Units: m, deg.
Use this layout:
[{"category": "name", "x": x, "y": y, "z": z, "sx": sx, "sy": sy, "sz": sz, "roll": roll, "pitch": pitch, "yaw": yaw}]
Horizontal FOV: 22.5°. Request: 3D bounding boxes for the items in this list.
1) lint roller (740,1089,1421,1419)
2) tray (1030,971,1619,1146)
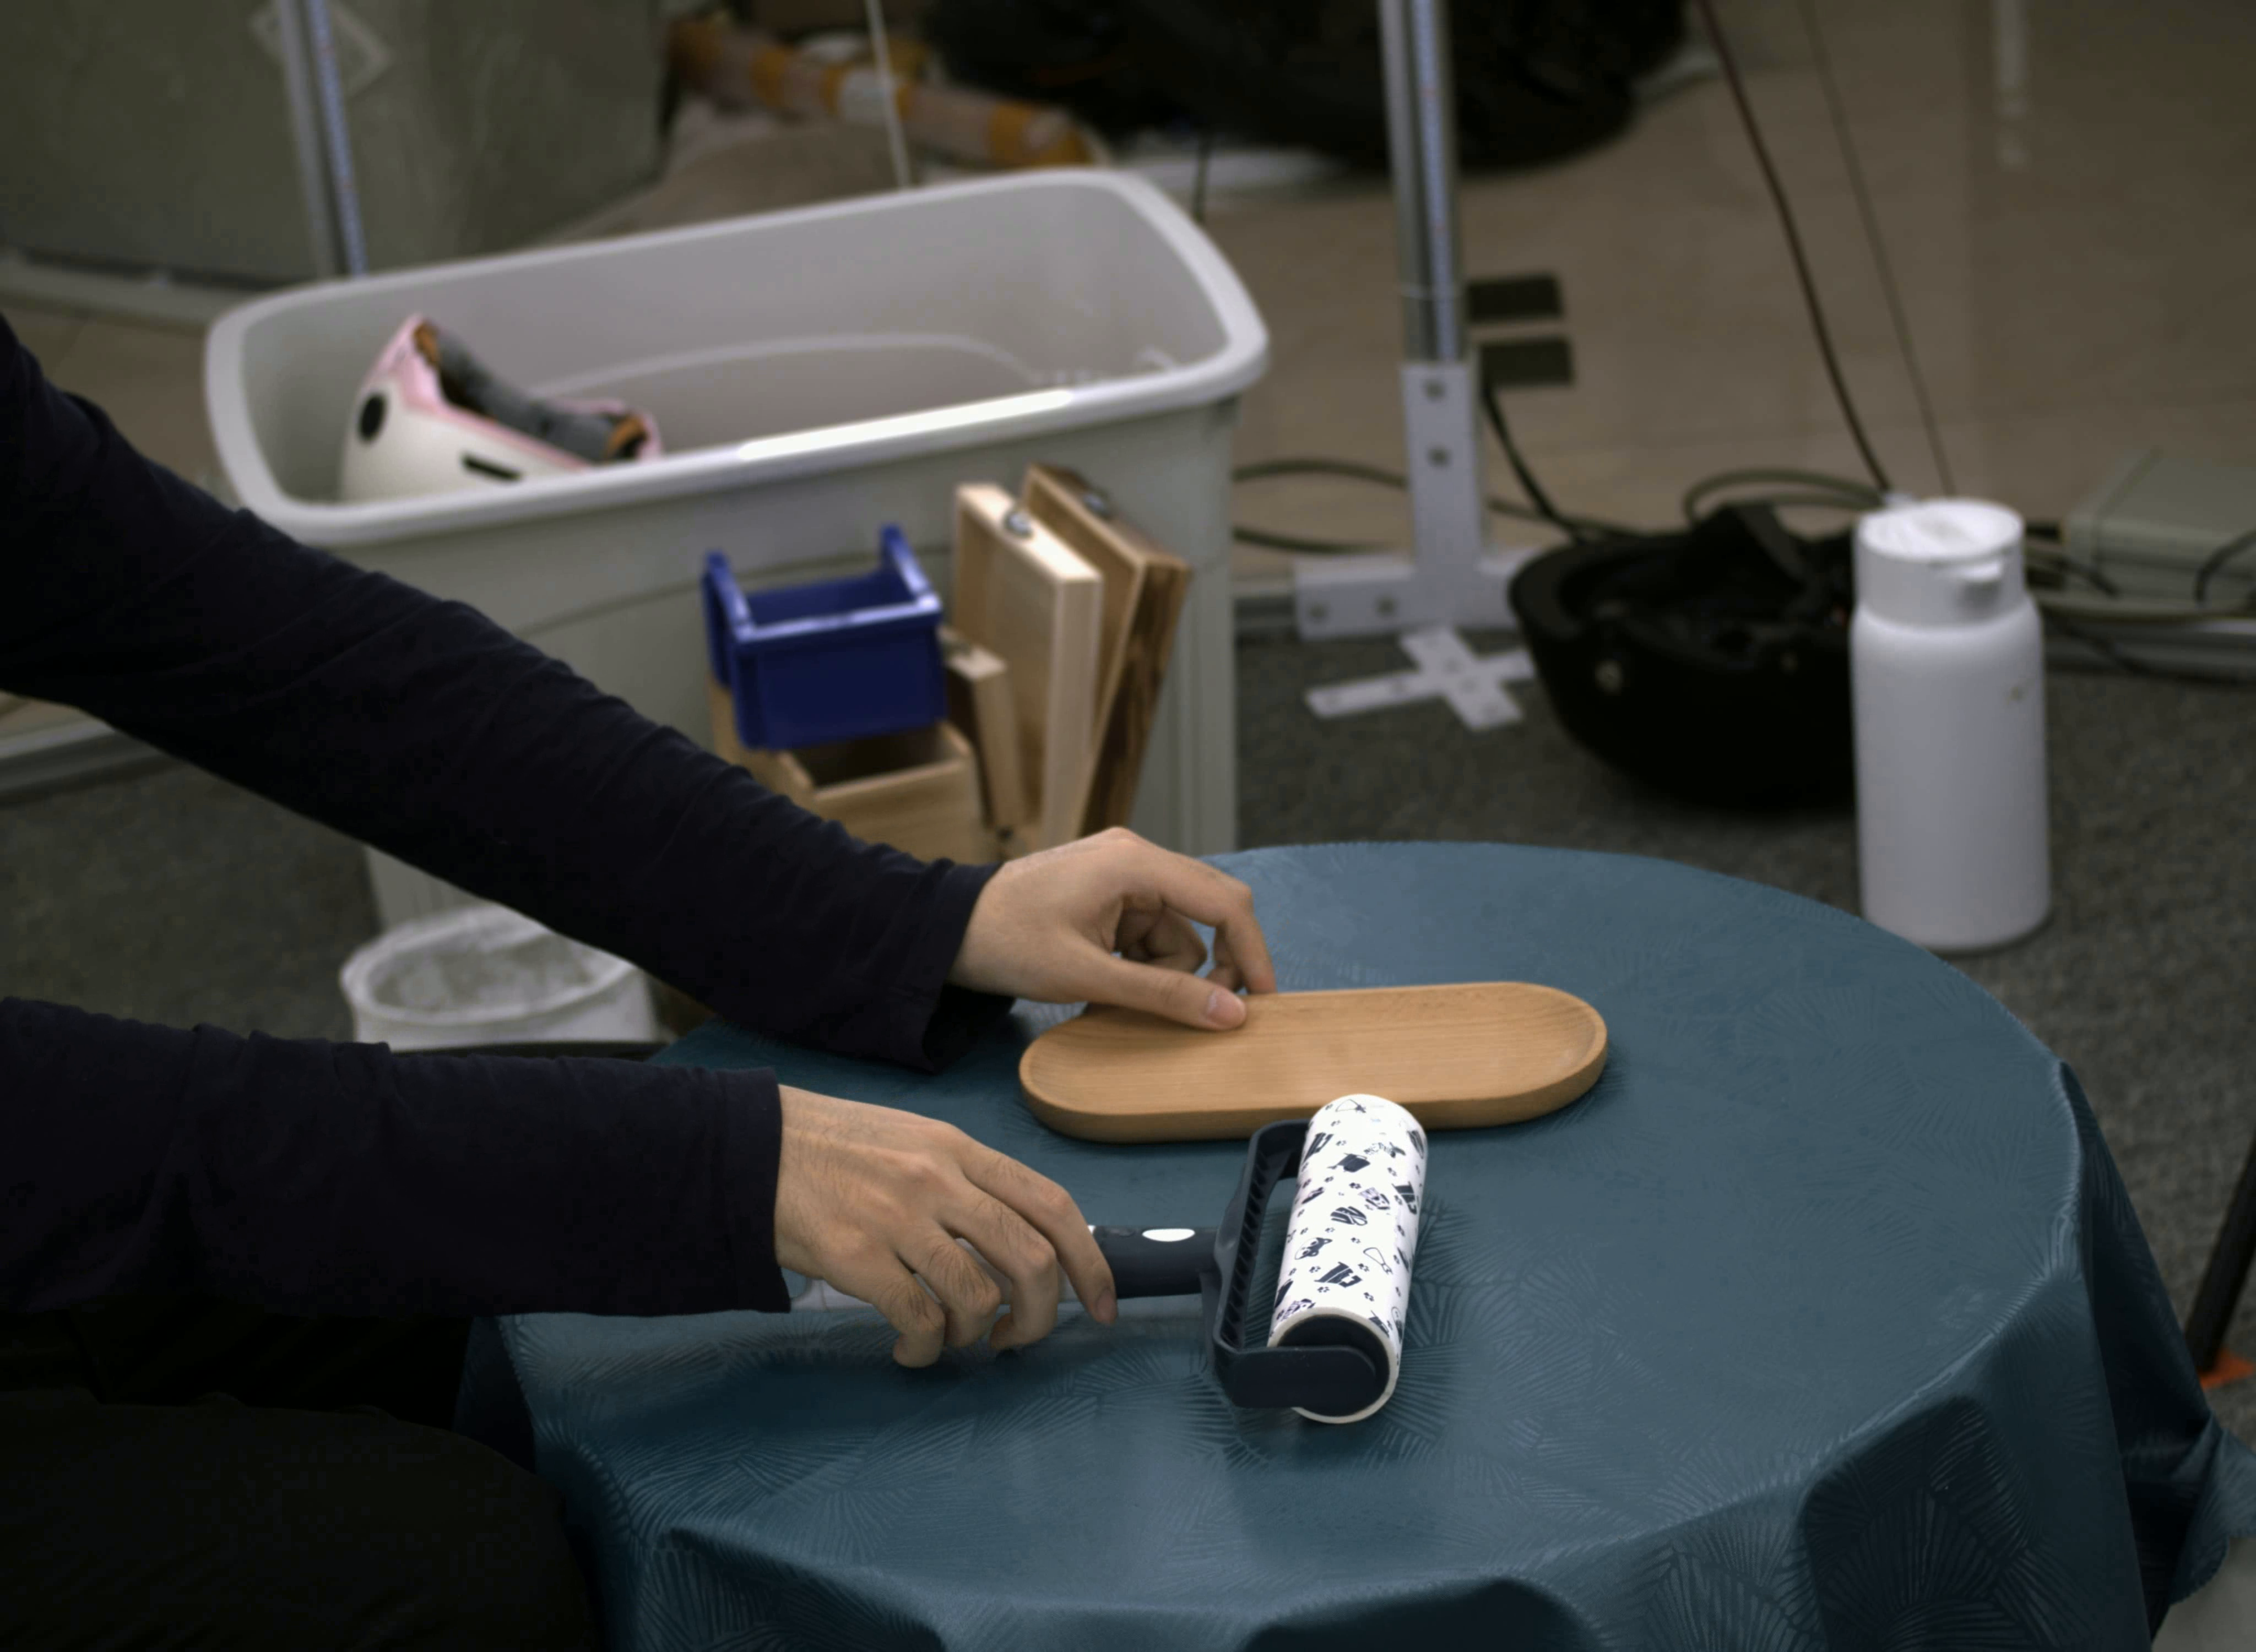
[{"category": "lint roller", "x": -0.021, "y": 0.159, "z": 2.055, "sx": 0.246, "sy": 0.051, "sz": 0.173, "roll": -3, "pitch": 26, "yaw": 8}, {"category": "tray", "x": 0.076, "y": 0.091, "z": 2.214, "sx": 0.231, "sy": 0.020, "sz": 0.100, "roll": -2, "pitch": 30, "yaw": 7}]
